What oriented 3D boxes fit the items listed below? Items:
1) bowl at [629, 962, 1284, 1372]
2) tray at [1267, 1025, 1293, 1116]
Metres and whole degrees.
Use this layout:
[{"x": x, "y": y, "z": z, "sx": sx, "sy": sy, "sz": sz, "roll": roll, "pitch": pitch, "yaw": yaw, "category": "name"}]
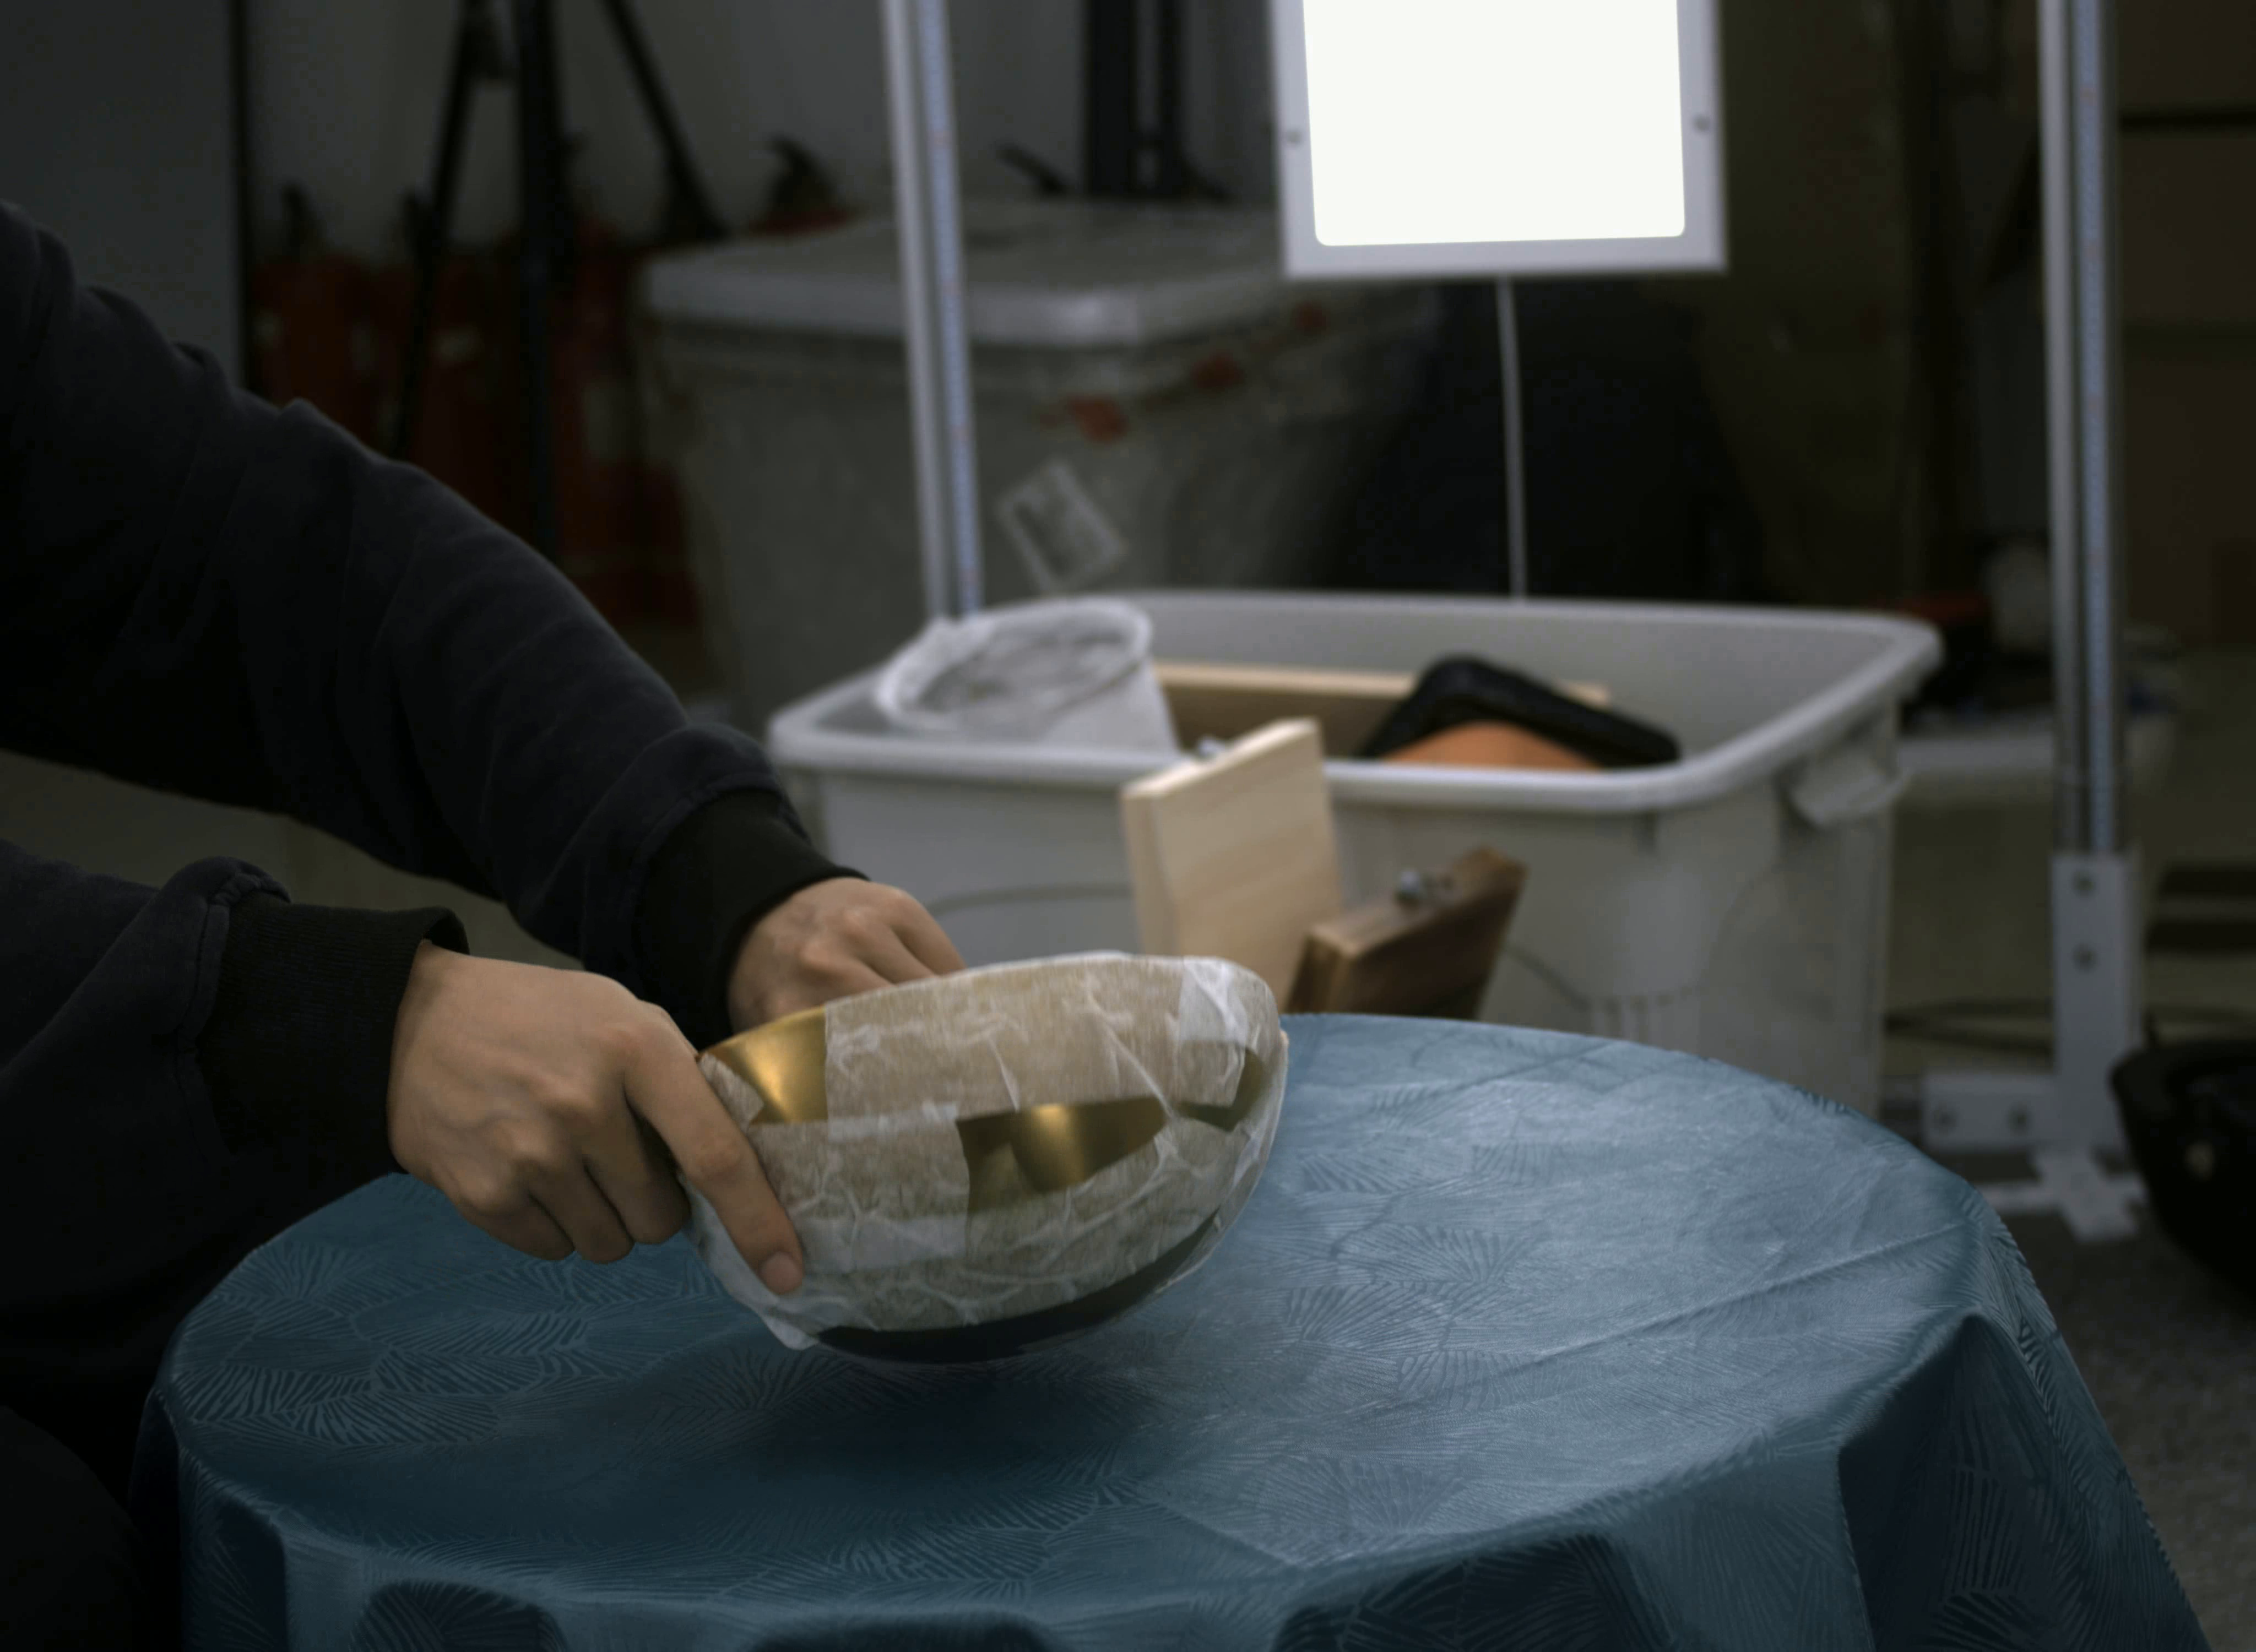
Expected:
[{"x": -0.045, "y": 0.116, "z": 1.695, "sx": 0.213, "sy": 0.095, "sz": 0.215, "roll": -10, "pitch": -15, "yaw": -4, "category": "bowl"}, {"x": -0.003, "y": 0.104, "z": 1.946, "sx": 0.102, "sy": 0.020, "sz": 0.228, "roll": 2, "pitch": 17, "yaw": 12, "category": "tray"}]
